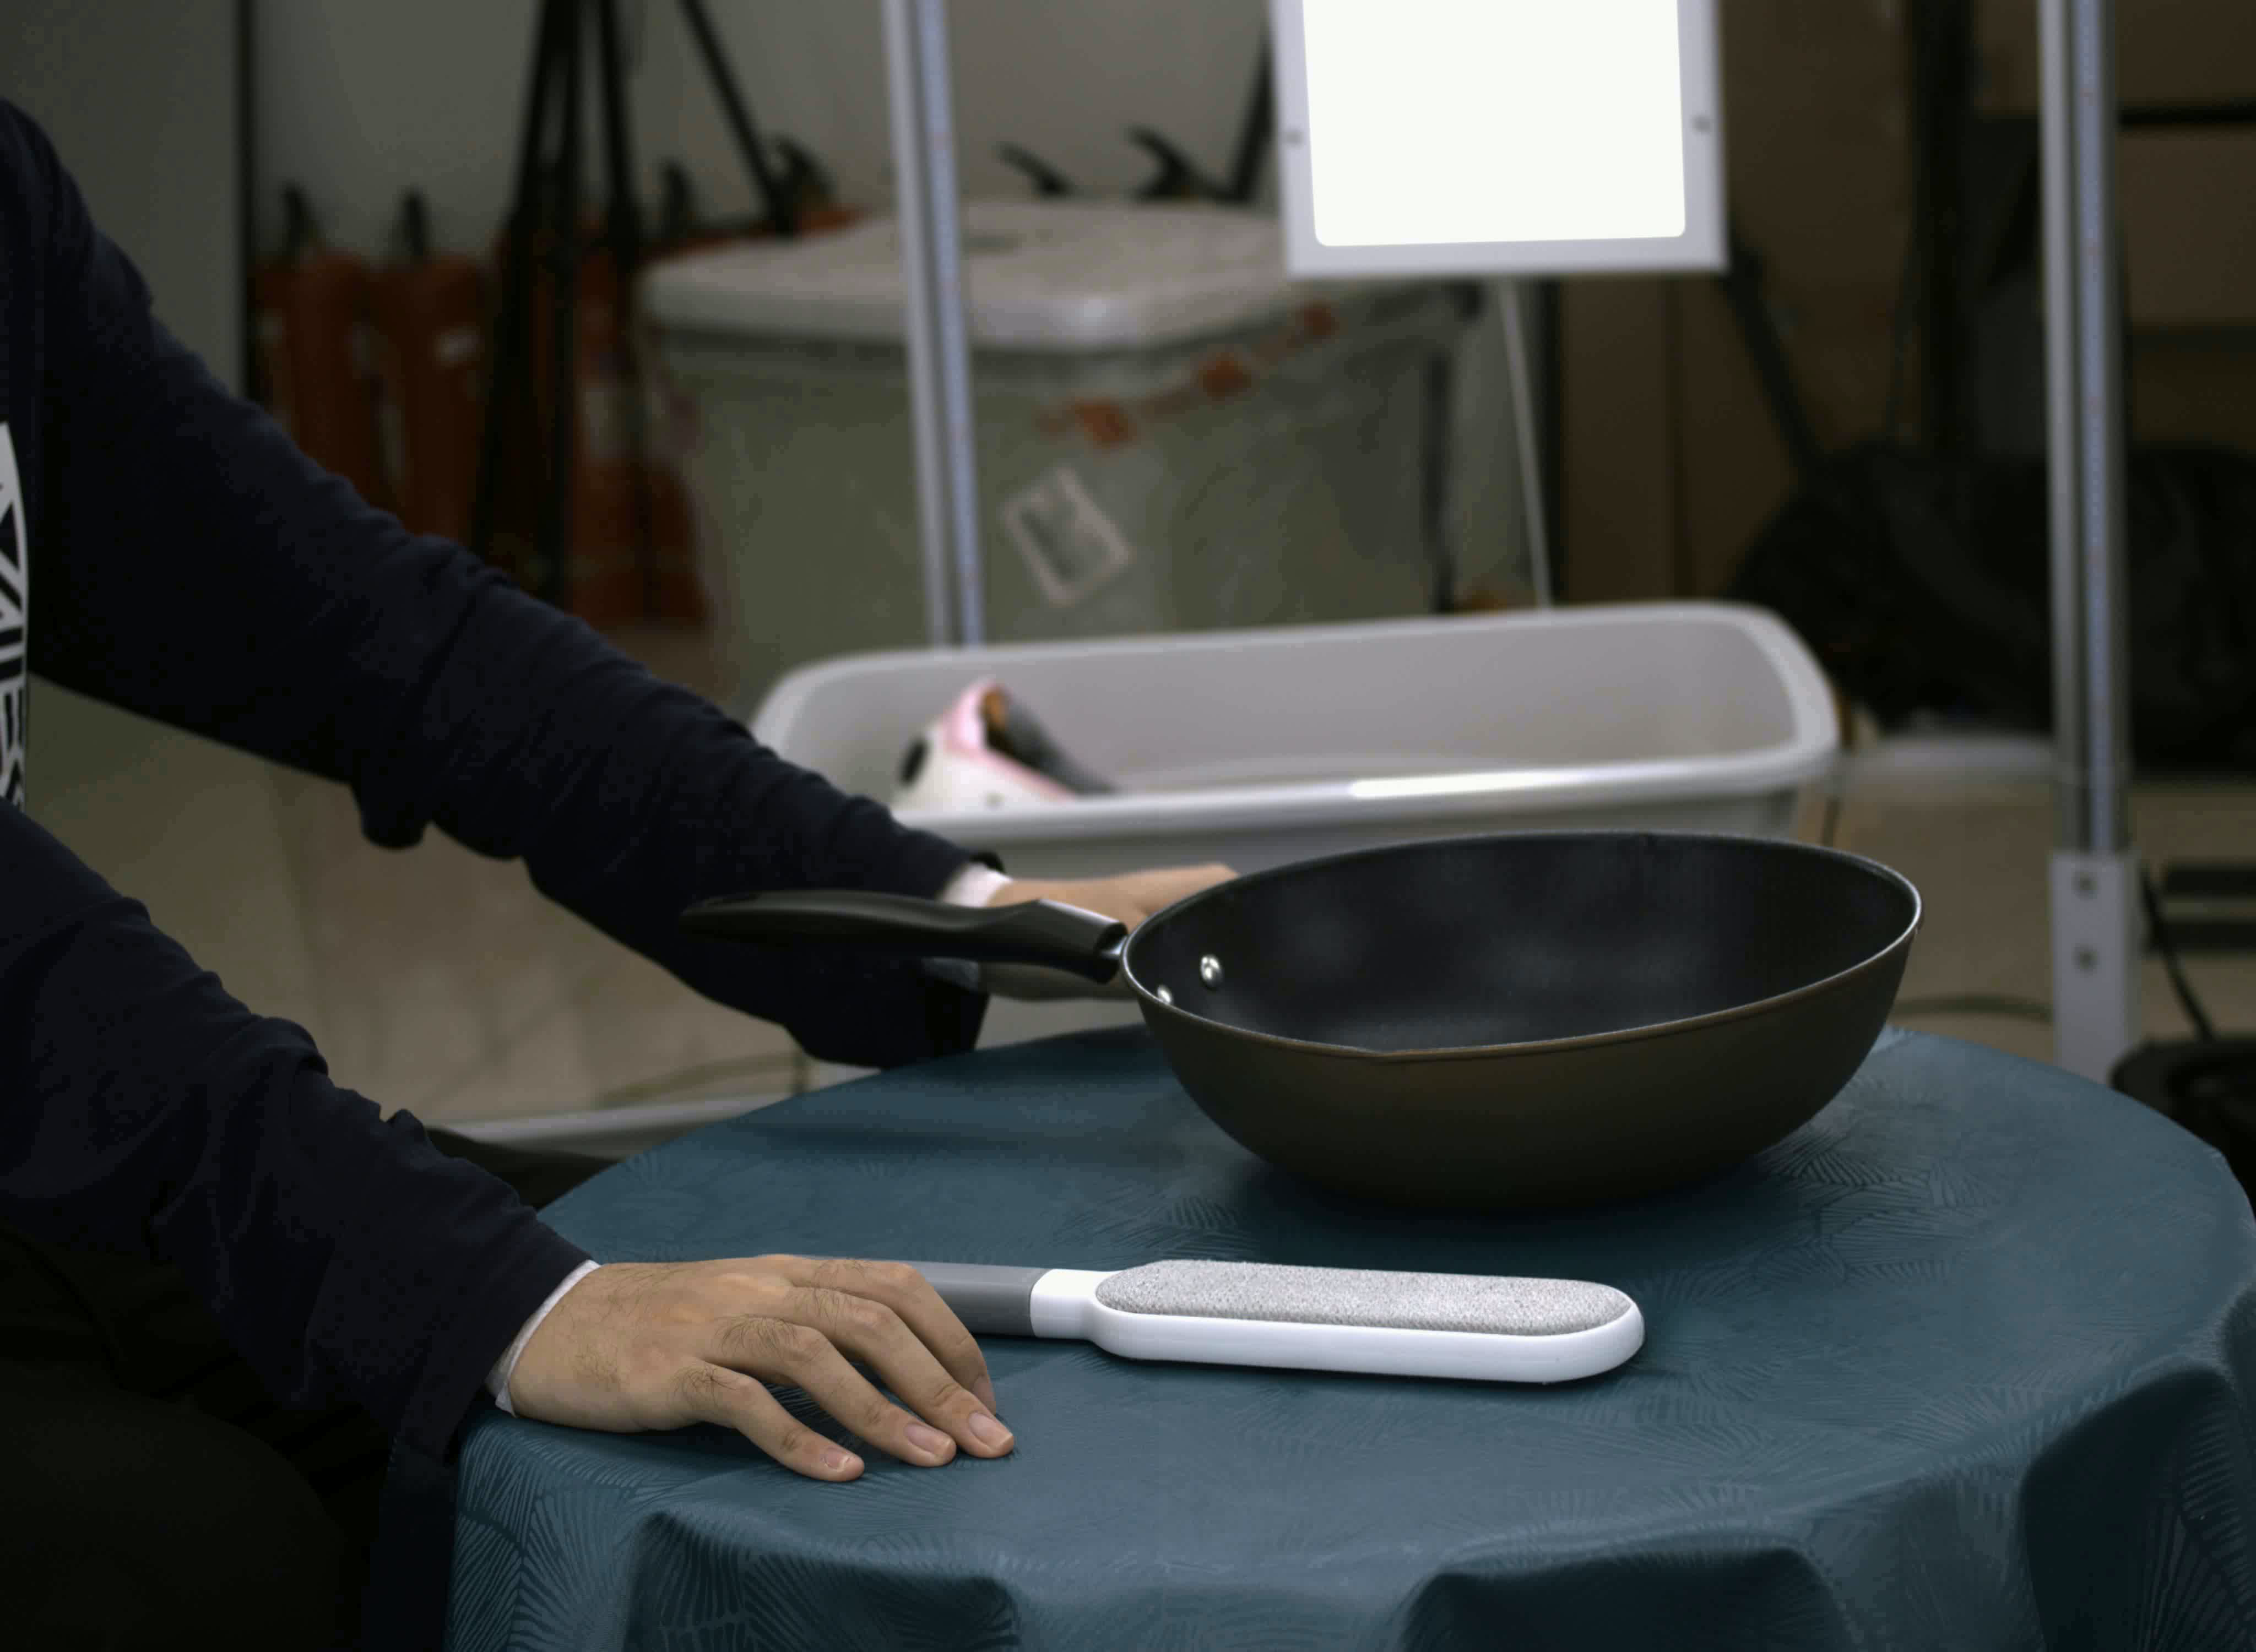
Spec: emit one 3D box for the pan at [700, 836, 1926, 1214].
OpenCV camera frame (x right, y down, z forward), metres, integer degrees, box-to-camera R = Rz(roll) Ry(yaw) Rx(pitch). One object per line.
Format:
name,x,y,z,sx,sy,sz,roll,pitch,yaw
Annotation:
pan,0.055,0.070,1.939,0.471,0.087,0.282,1,14,26

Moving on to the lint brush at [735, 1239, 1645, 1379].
lint brush,0.014,0.149,1.745,0.314,0.021,0.059,2,20,26
